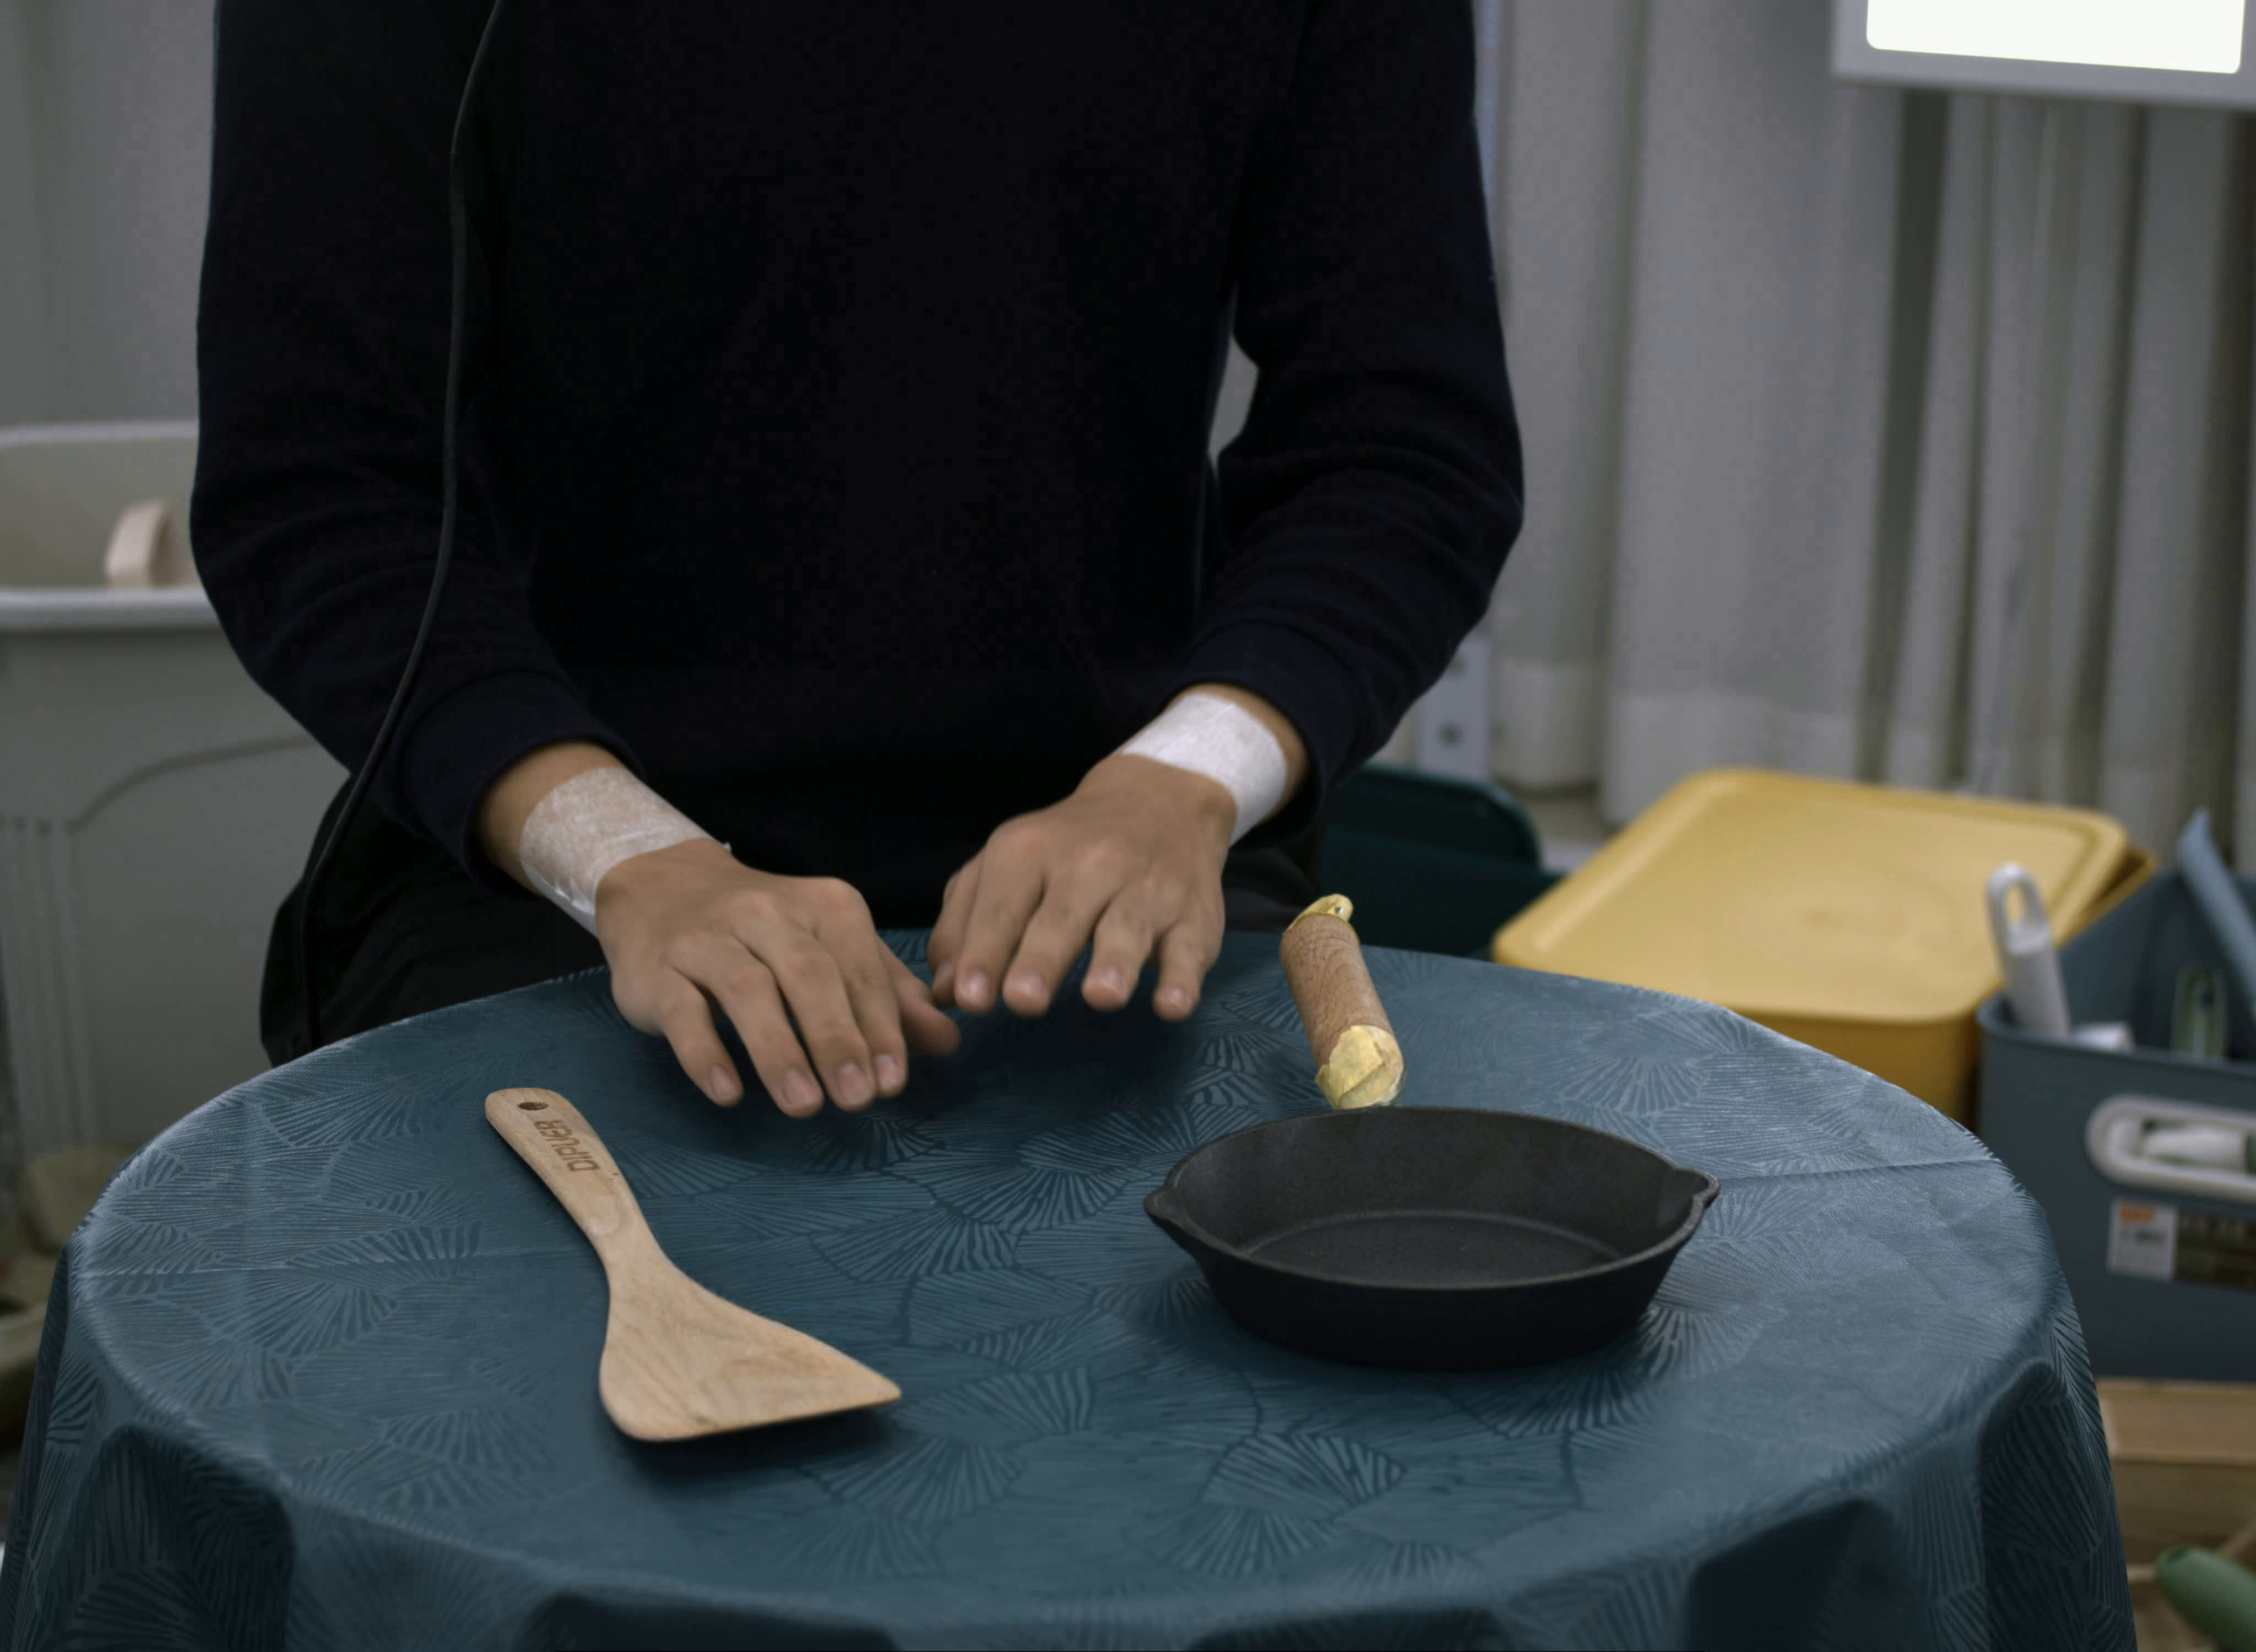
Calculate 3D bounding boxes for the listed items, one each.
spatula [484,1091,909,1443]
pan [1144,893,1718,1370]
[{"bbox_3d":[-0.143,0.125,1.545,0.080,0.016,0.324,-4,16,-19],"label":"spatula"},{"bbox_3d":[0.081,0.090,1.611,0.168,0.050,0.322,-1,17,-5],"label":"pan"}]
